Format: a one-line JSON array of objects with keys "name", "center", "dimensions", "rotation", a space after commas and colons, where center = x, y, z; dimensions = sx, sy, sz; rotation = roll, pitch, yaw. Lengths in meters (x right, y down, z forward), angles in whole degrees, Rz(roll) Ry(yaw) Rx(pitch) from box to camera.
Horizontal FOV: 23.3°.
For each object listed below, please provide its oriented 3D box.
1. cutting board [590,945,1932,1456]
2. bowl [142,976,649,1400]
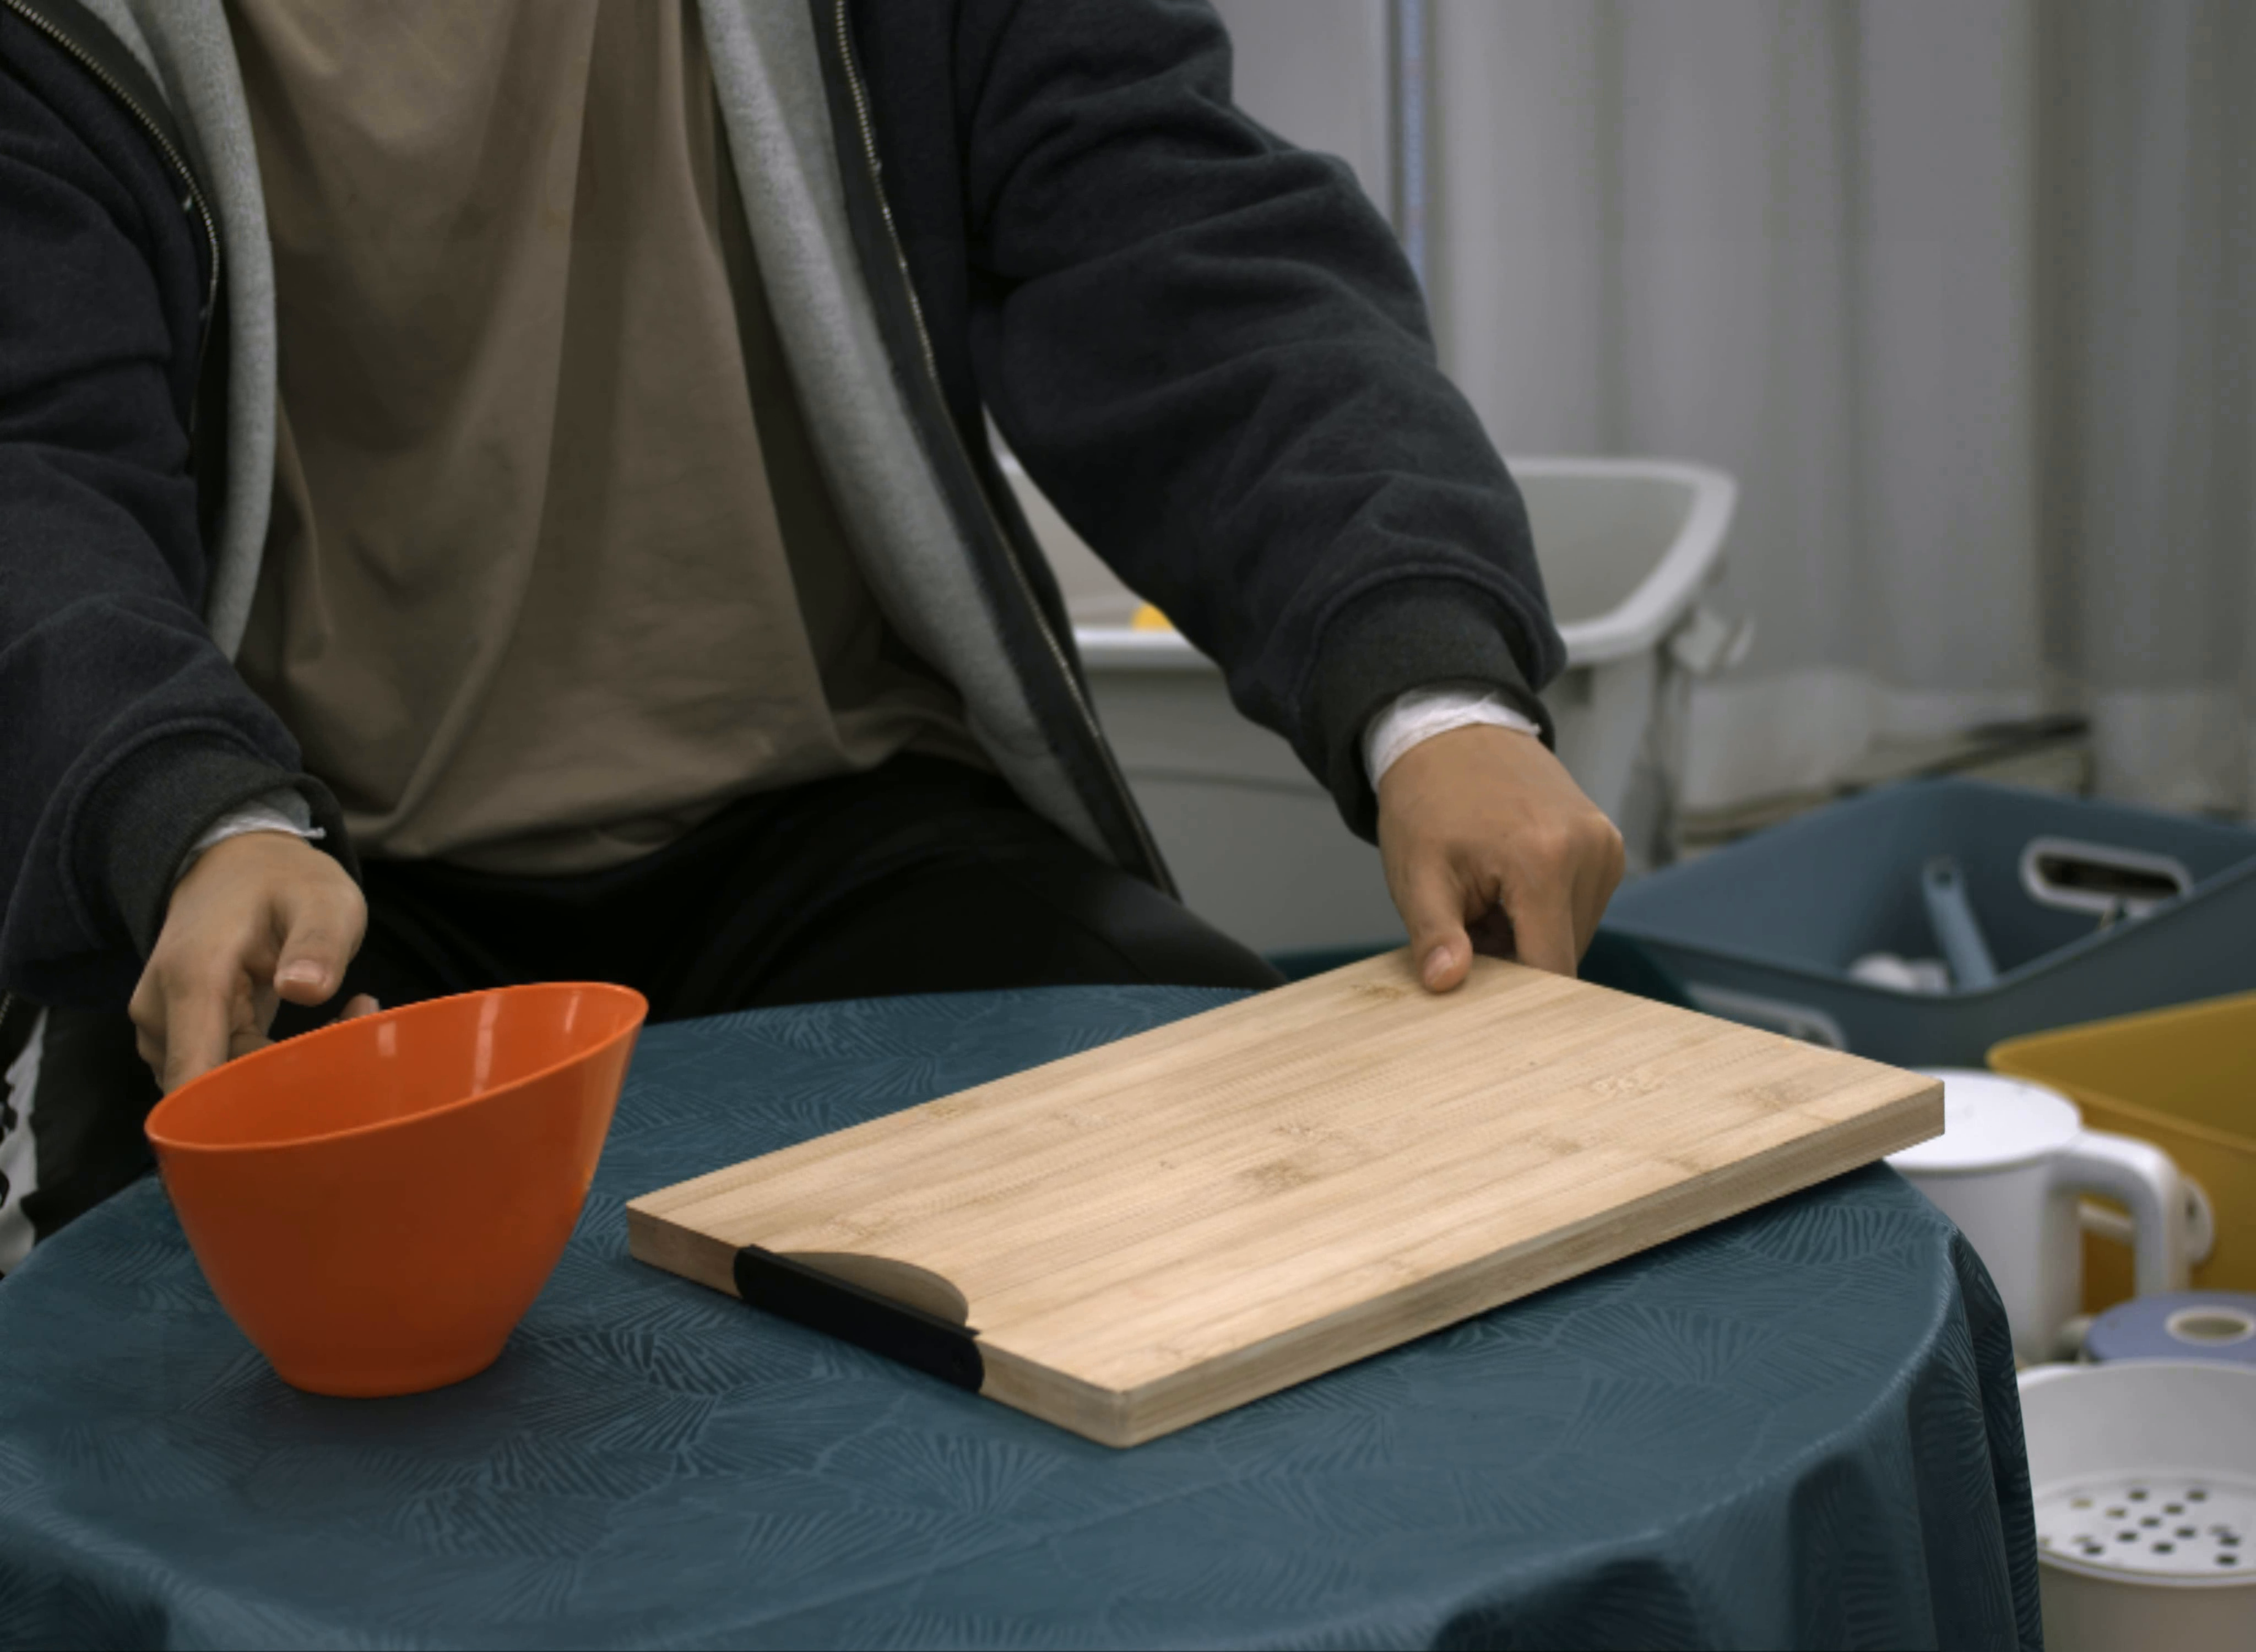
[{"name": "cutting board", "center": [0.045, 0.108, 1.688], "dimensions": [0.348, 0.023, 0.252], "rotation": [-16, 19, -38]}, {"name": "bowl", "center": [-0.209, 0.107, 1.587], "dimensions": [0.147, 0.104, 0.149], "rotation": [-3, 17, 1]}]
